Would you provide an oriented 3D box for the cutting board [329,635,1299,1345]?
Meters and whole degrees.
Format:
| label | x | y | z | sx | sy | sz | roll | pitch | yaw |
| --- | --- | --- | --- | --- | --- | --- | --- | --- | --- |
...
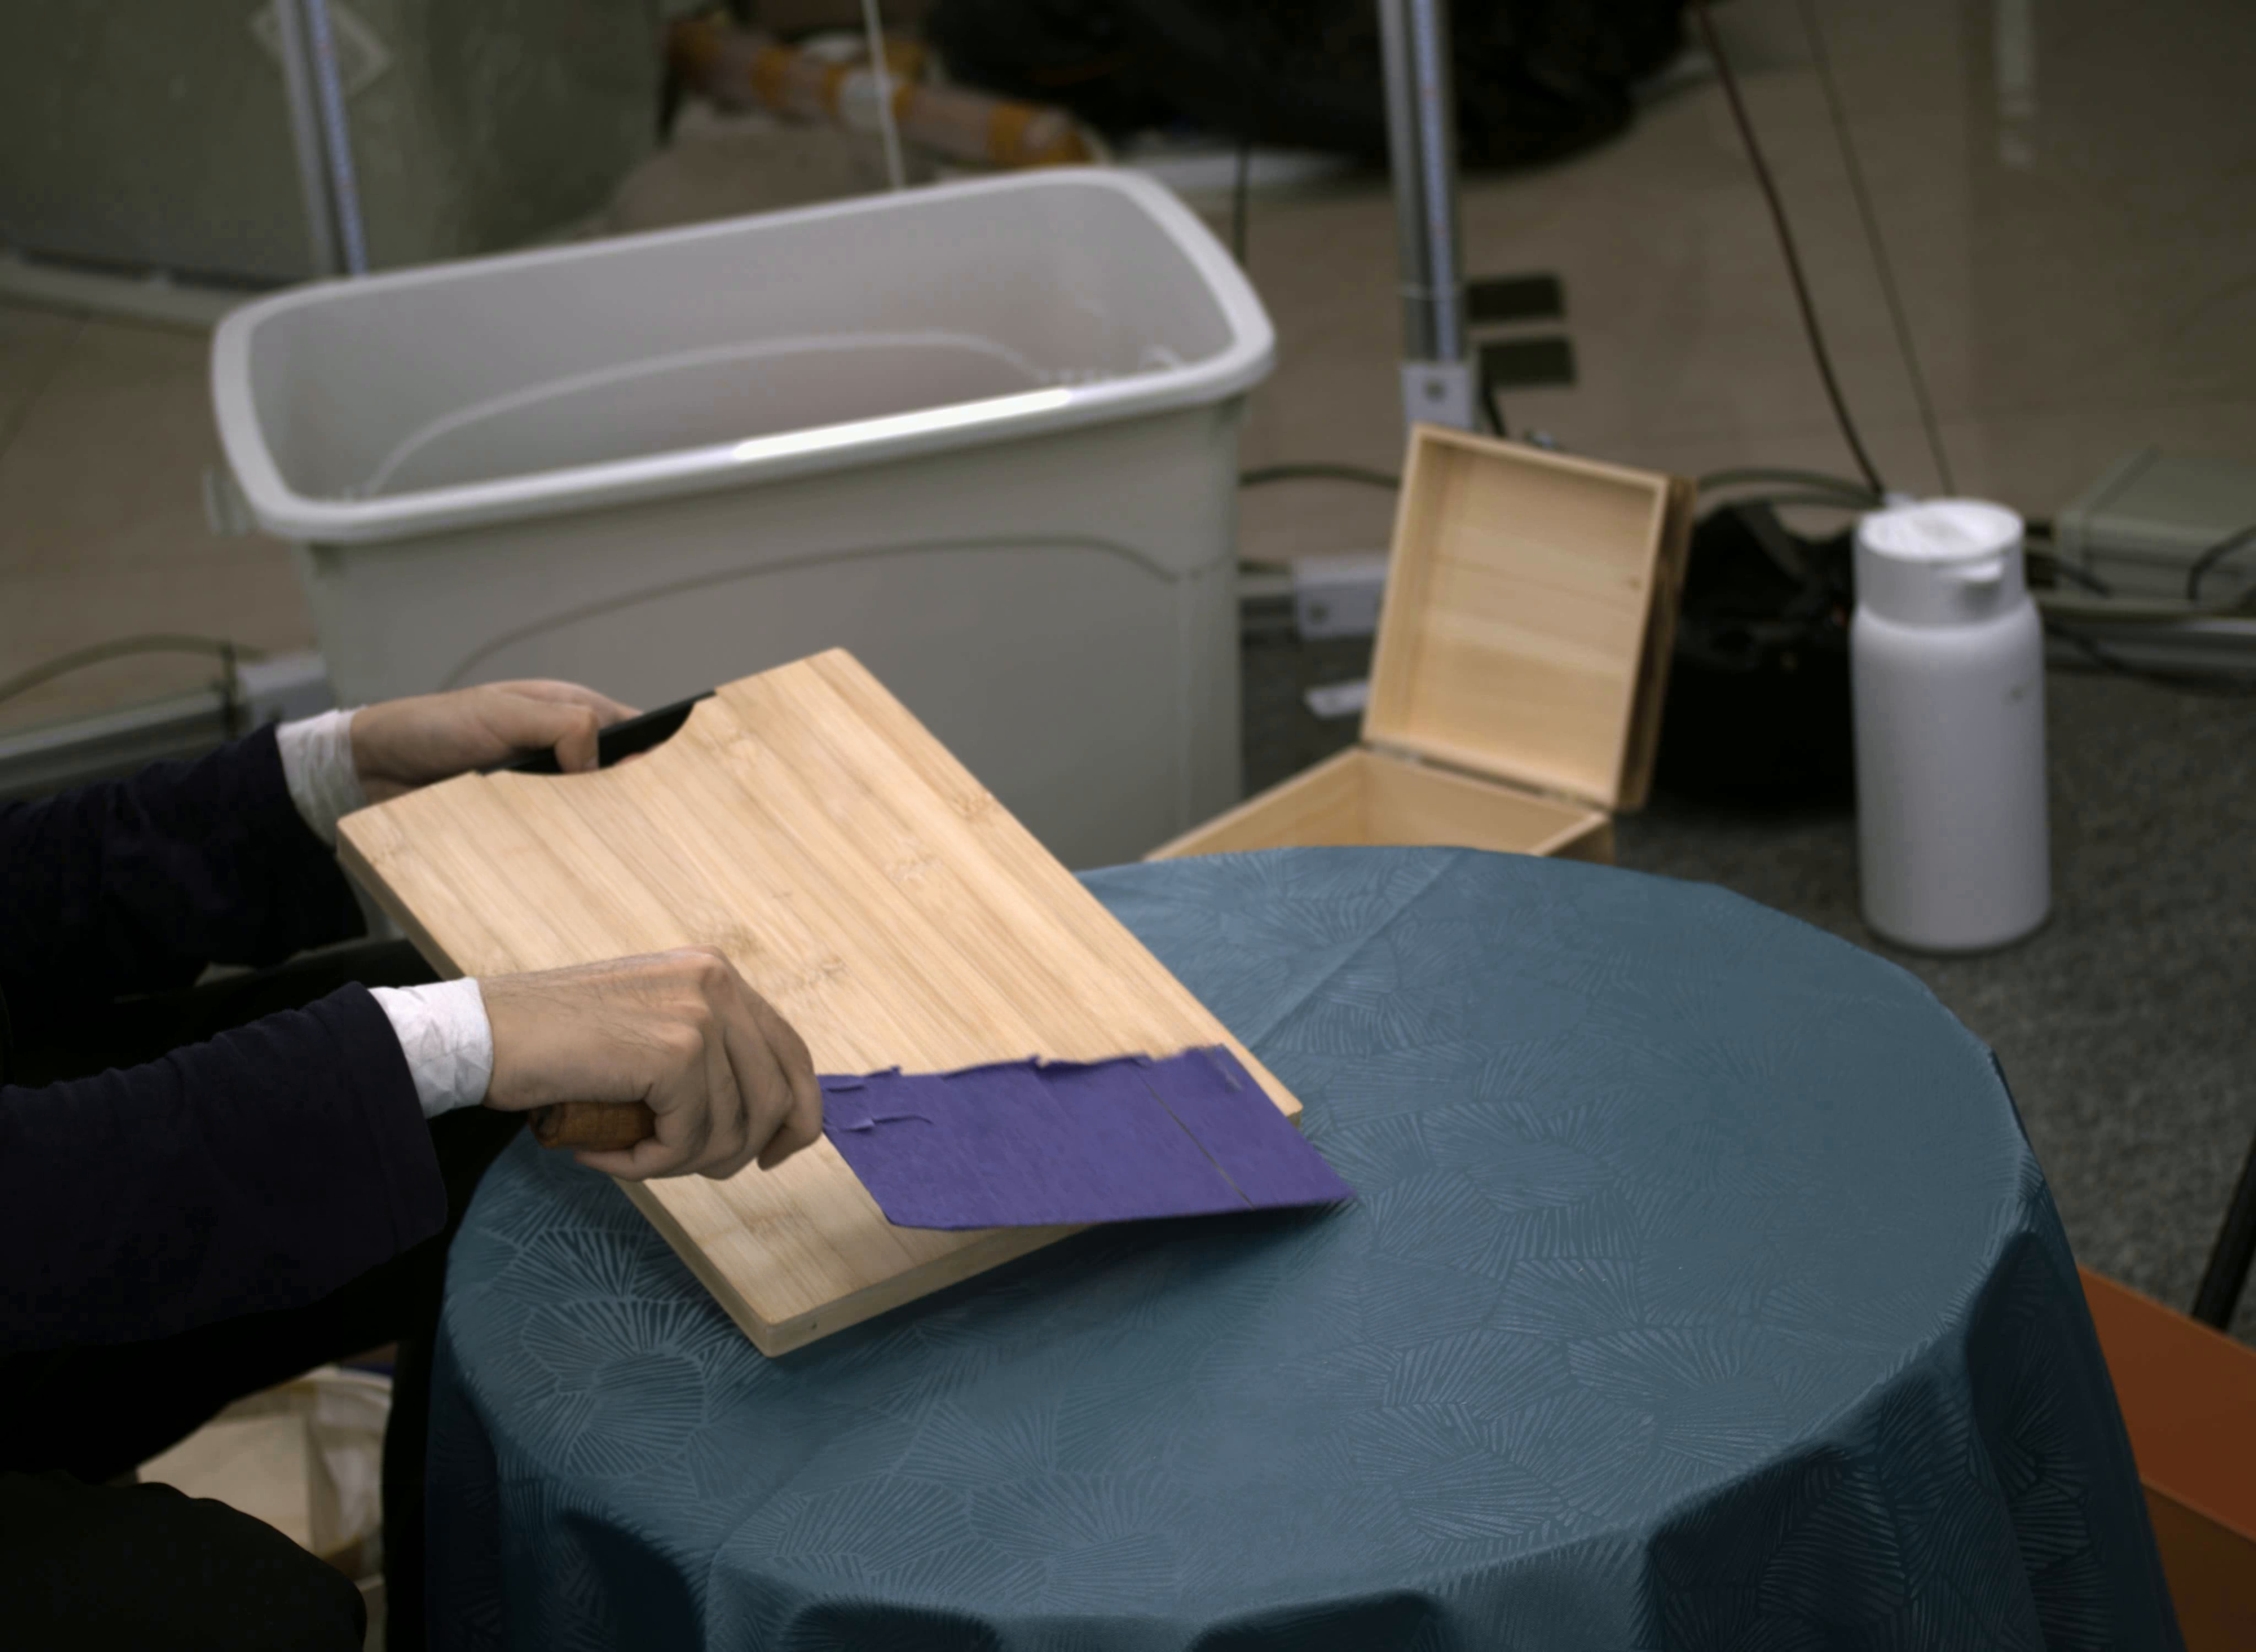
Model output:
| label | x | y | z | sx | sy | sz | roll | pitch | yaw |
| --- | --- | --- | --- | --- | --- | --- | --- | --- | --- |
| cutting board | -0.128 | 0.057 | 2.221 | 0.249 | 0.024 | 0.344 | -21 | 46 | -28 |

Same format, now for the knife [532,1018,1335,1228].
| label | x | y | z | sx | sy | sz | roll | pitch | yaw |
| --- | --- | --- | --- | --- | --- | --- | --- | --- | --- |
| knife | -0.062 | 0.110 | 2.062 | 0.314 | 0.033 | 0.102 | -5 | 37 | -36 |
